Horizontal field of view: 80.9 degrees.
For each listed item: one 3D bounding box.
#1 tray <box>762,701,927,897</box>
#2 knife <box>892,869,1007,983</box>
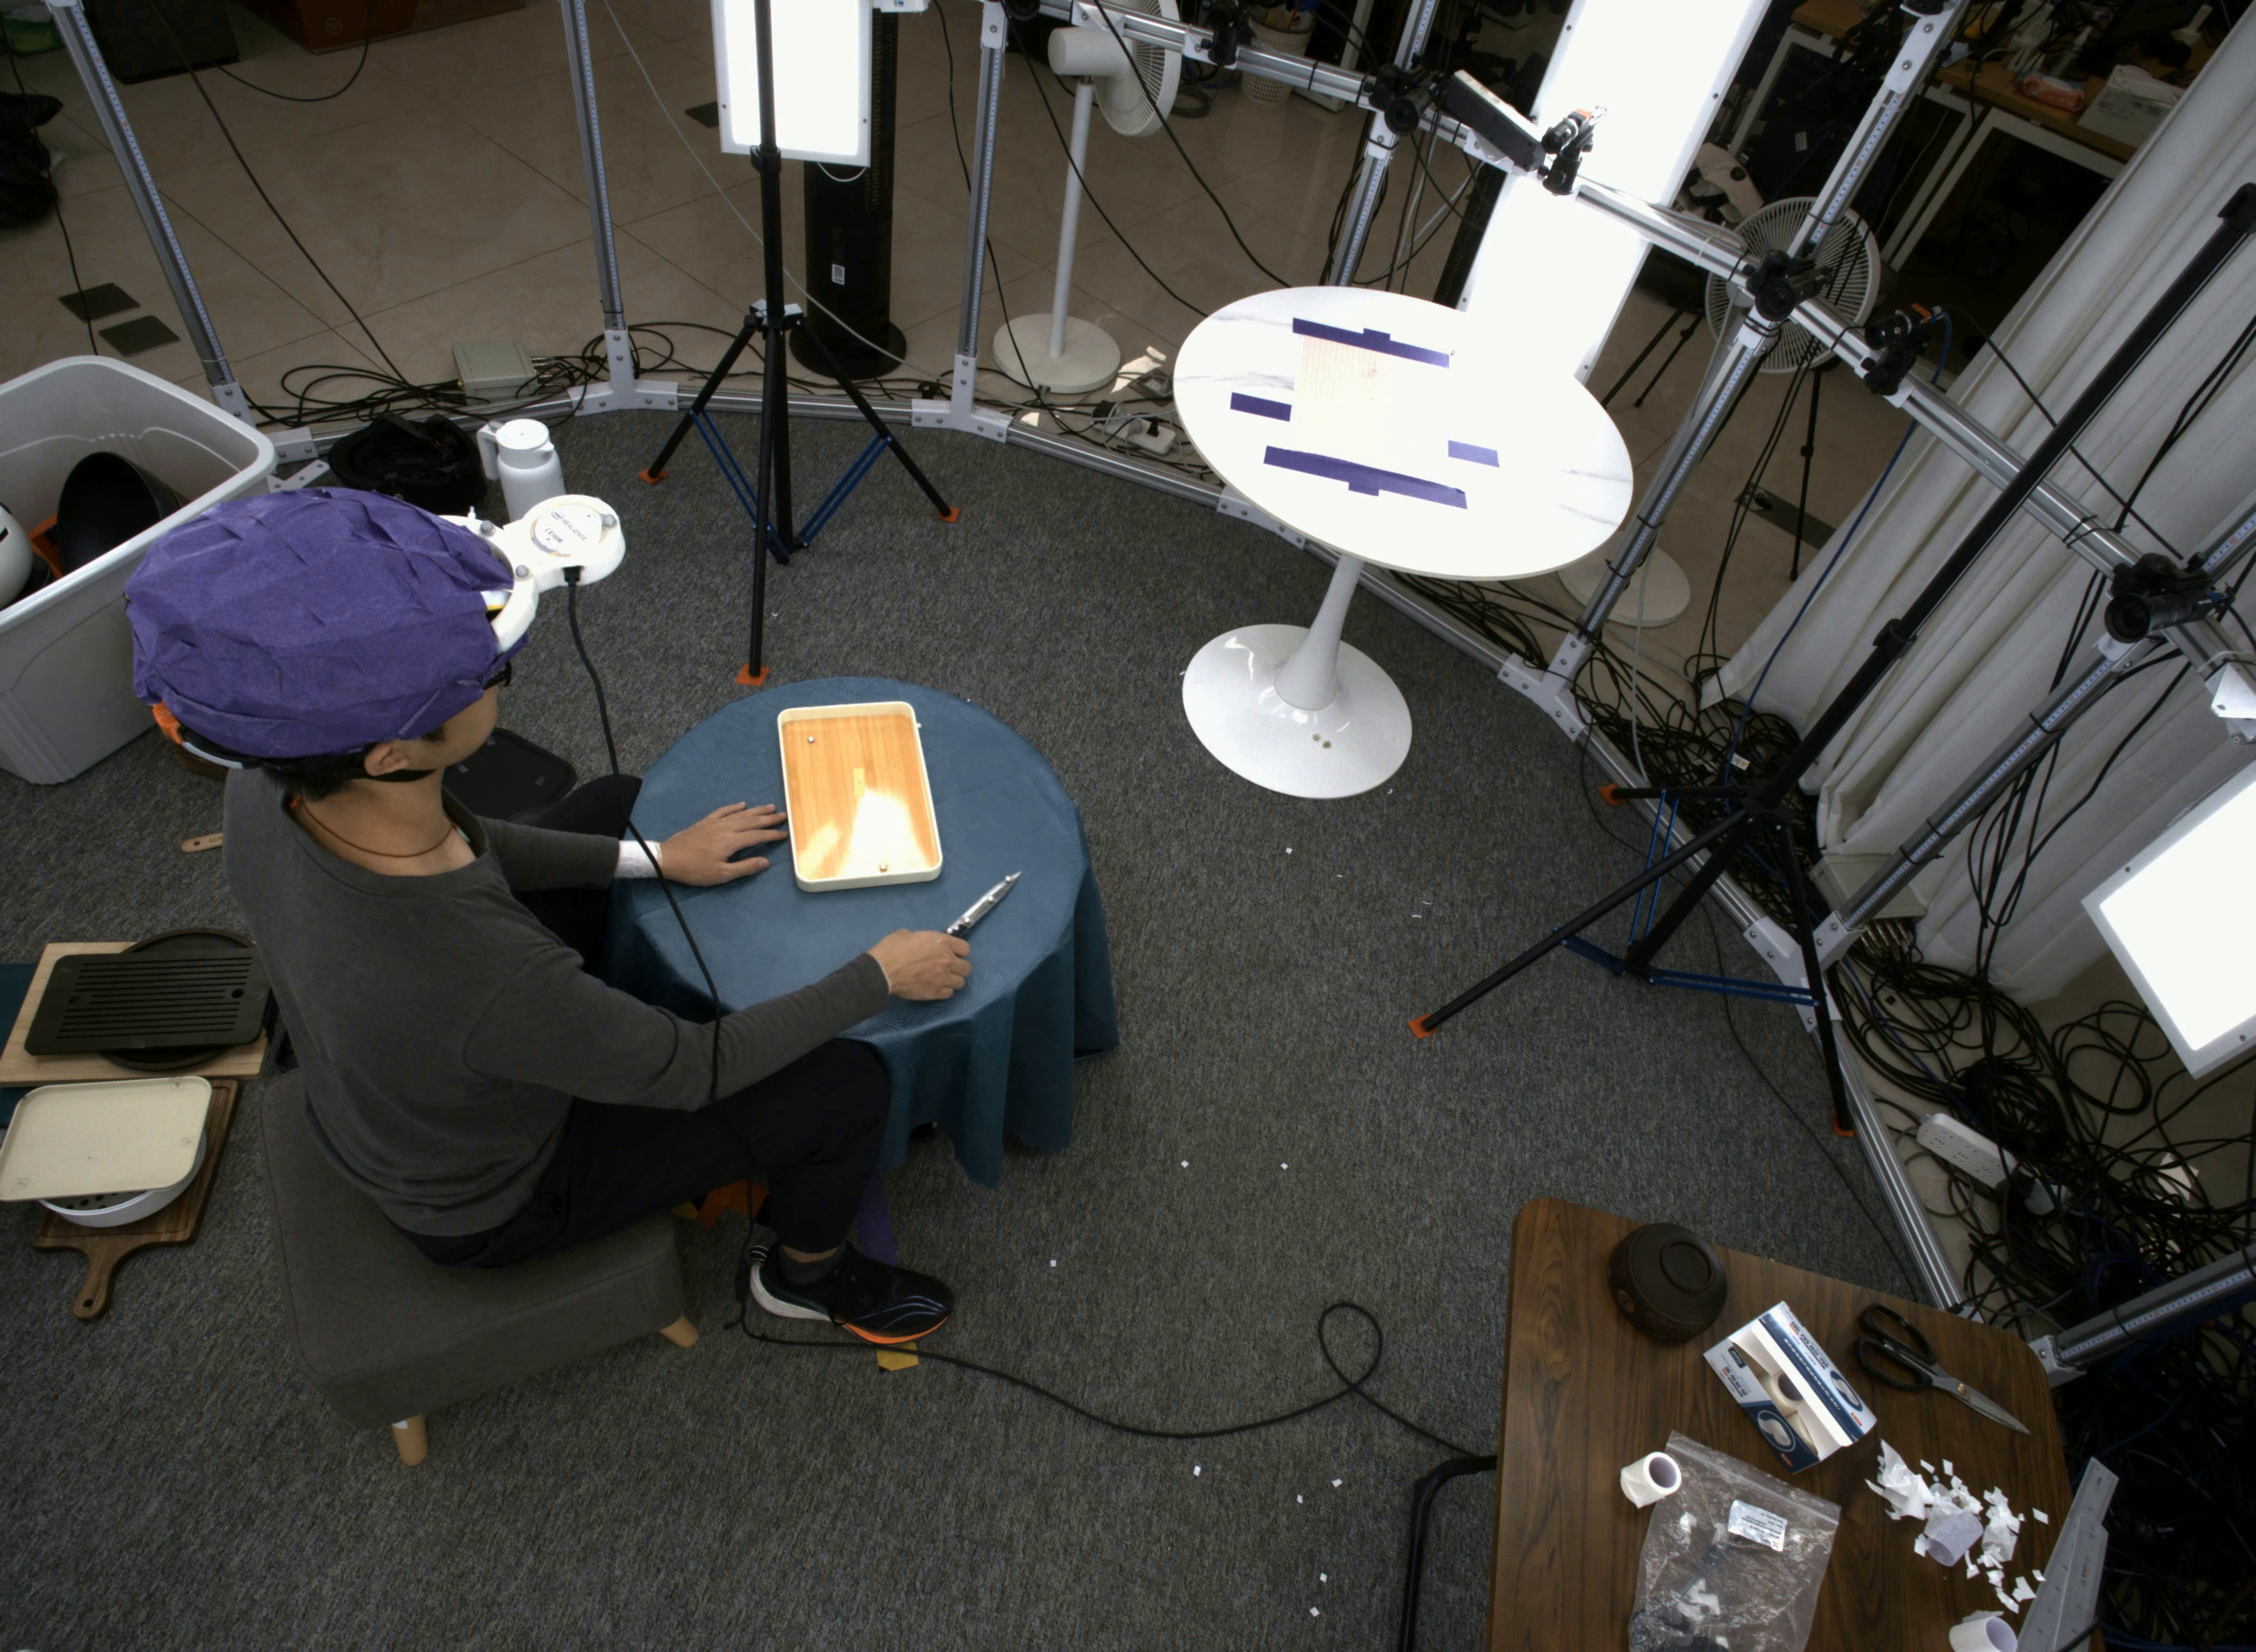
[{"bbox_3d":[-0.388,-0.044,1.760,0.192,0.028,0.293,-6,56,-17],"label":"tray"},{"bbox_3d":[-0.224,0.124,1.682,0.024,0.017,0.238,25,46,20],"label":"knife"}]
